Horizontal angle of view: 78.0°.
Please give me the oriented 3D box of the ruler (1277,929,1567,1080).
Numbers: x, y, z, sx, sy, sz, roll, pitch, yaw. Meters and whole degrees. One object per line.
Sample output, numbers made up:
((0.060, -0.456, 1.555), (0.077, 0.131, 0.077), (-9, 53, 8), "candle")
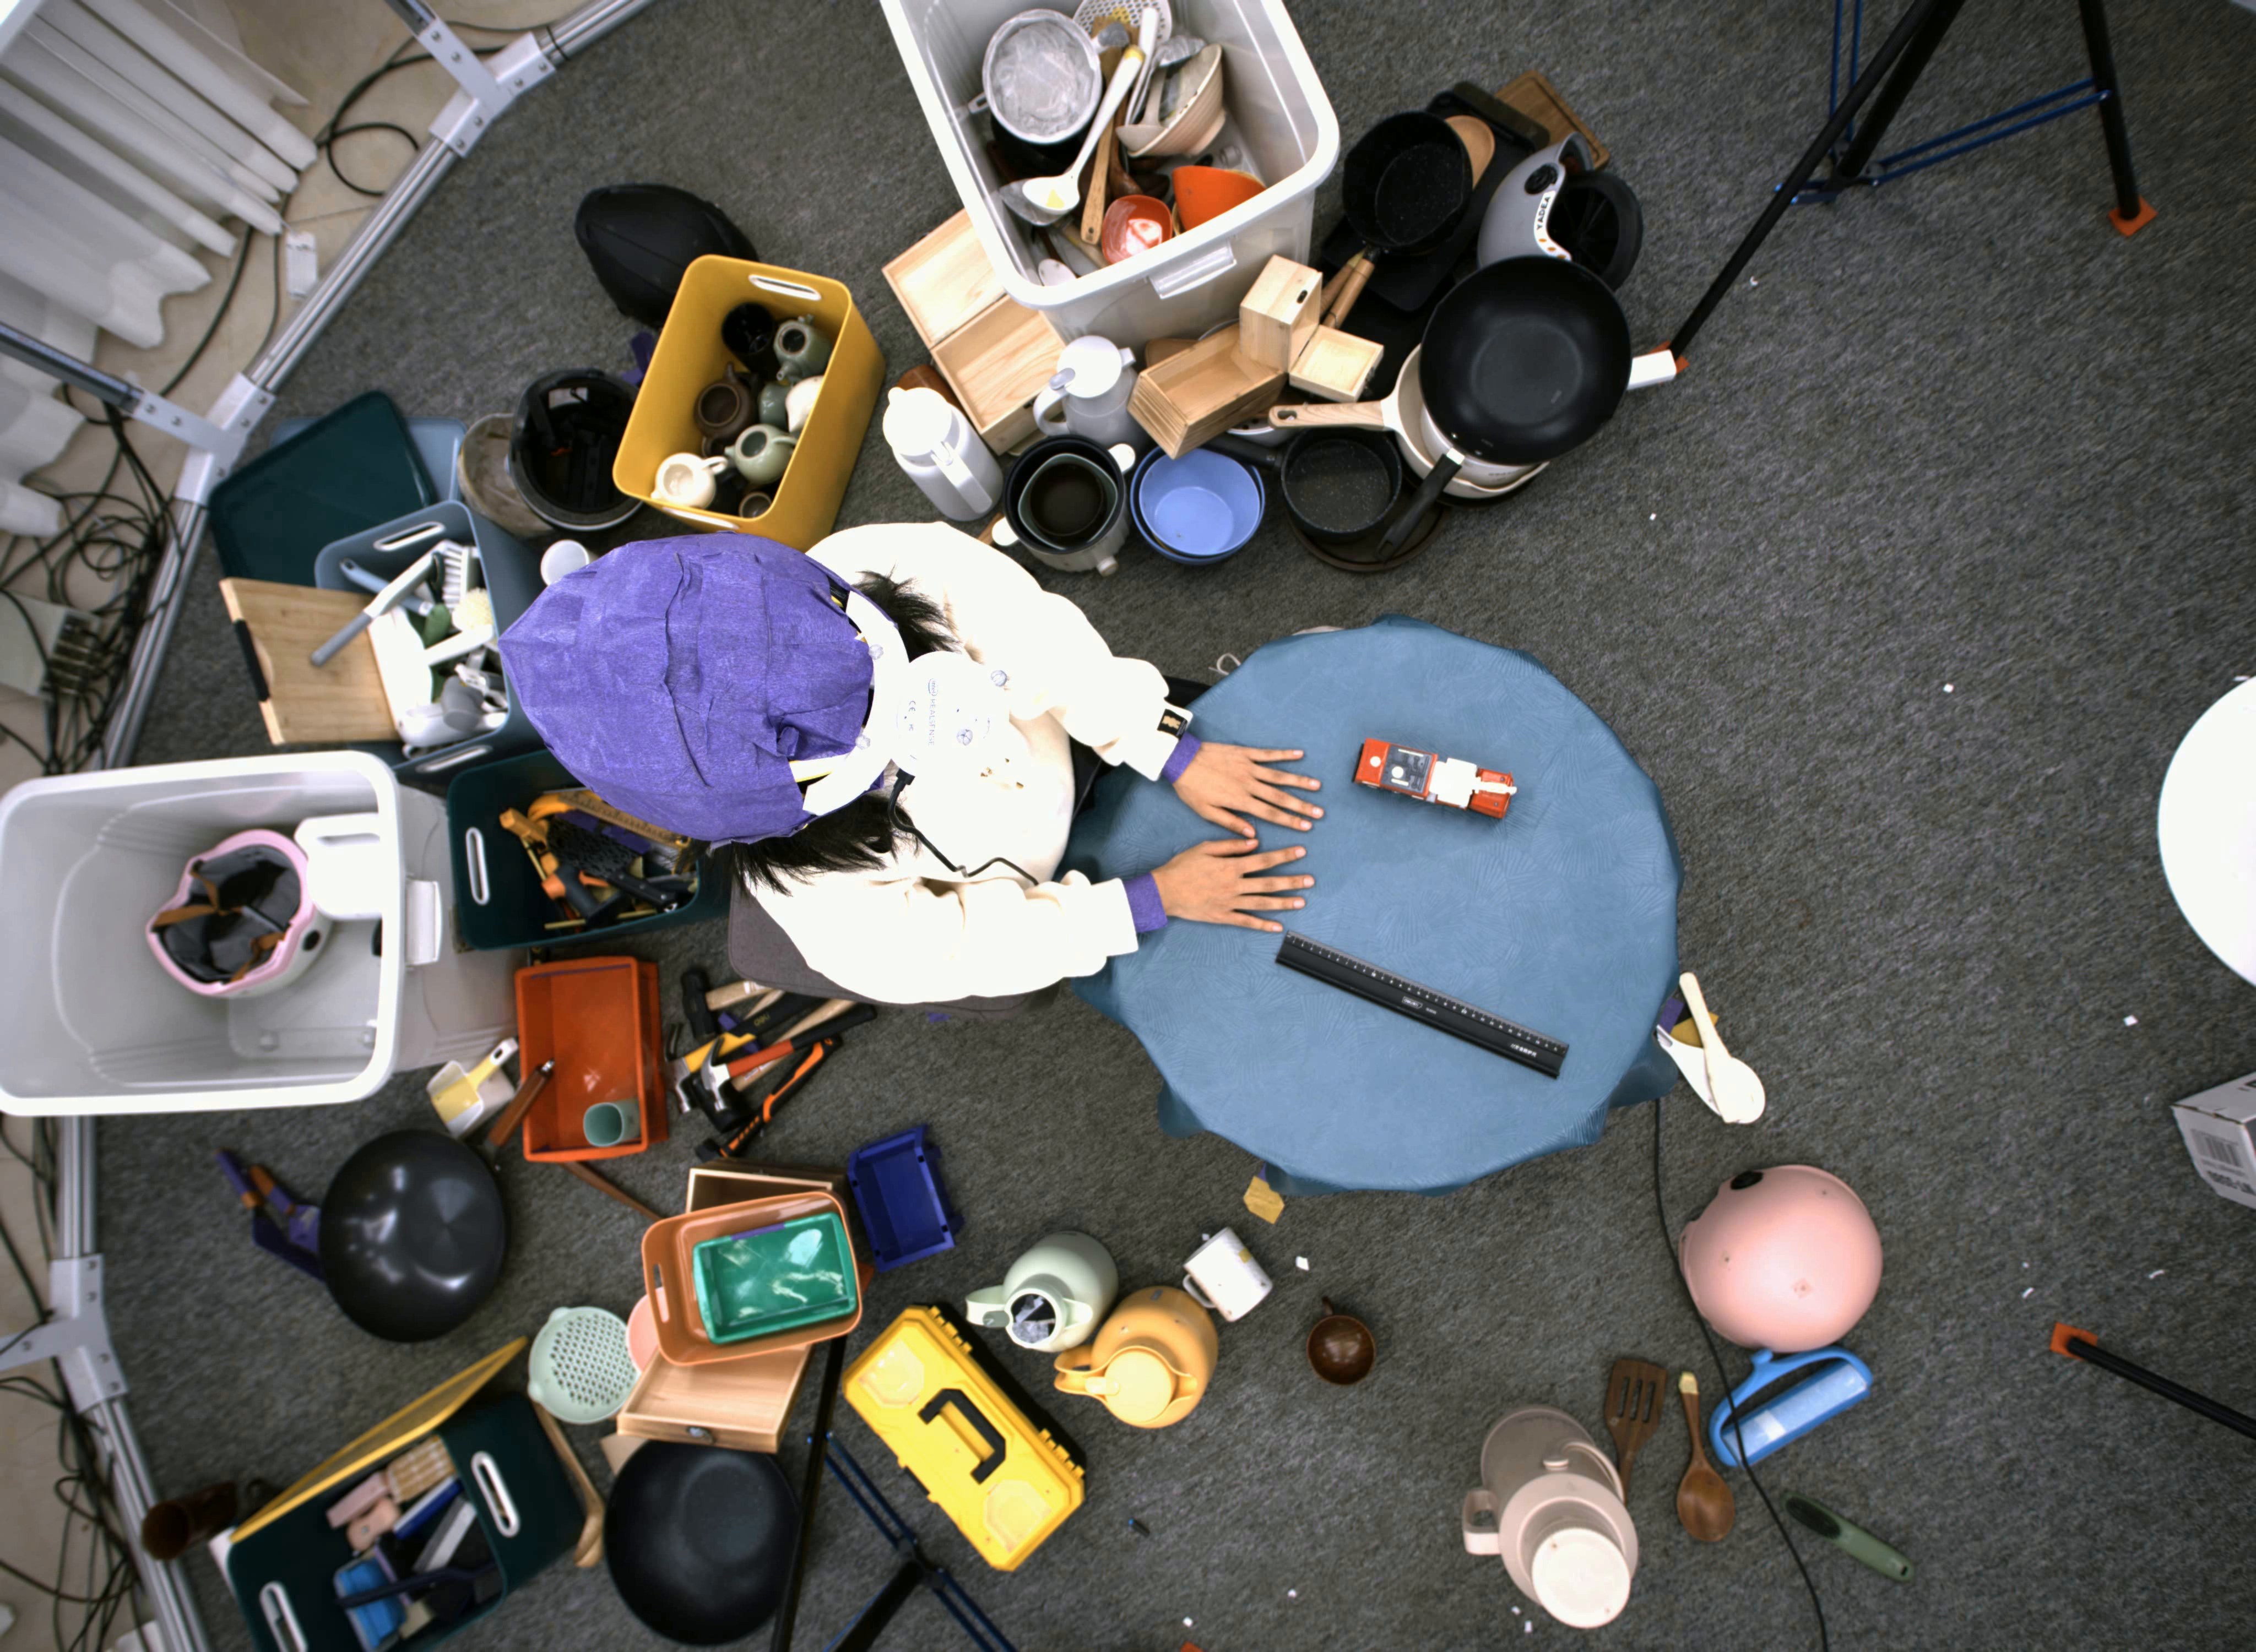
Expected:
((0.305, 0.183, 1.439), (0.312, 0.017, 0.039), (23, 88, 11), "ruler")

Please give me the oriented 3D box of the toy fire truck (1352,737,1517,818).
((0.319, -0.052, 1.428), (0.168, 0.070, 0.054), (15, 89, 12), "toy fire truck")
